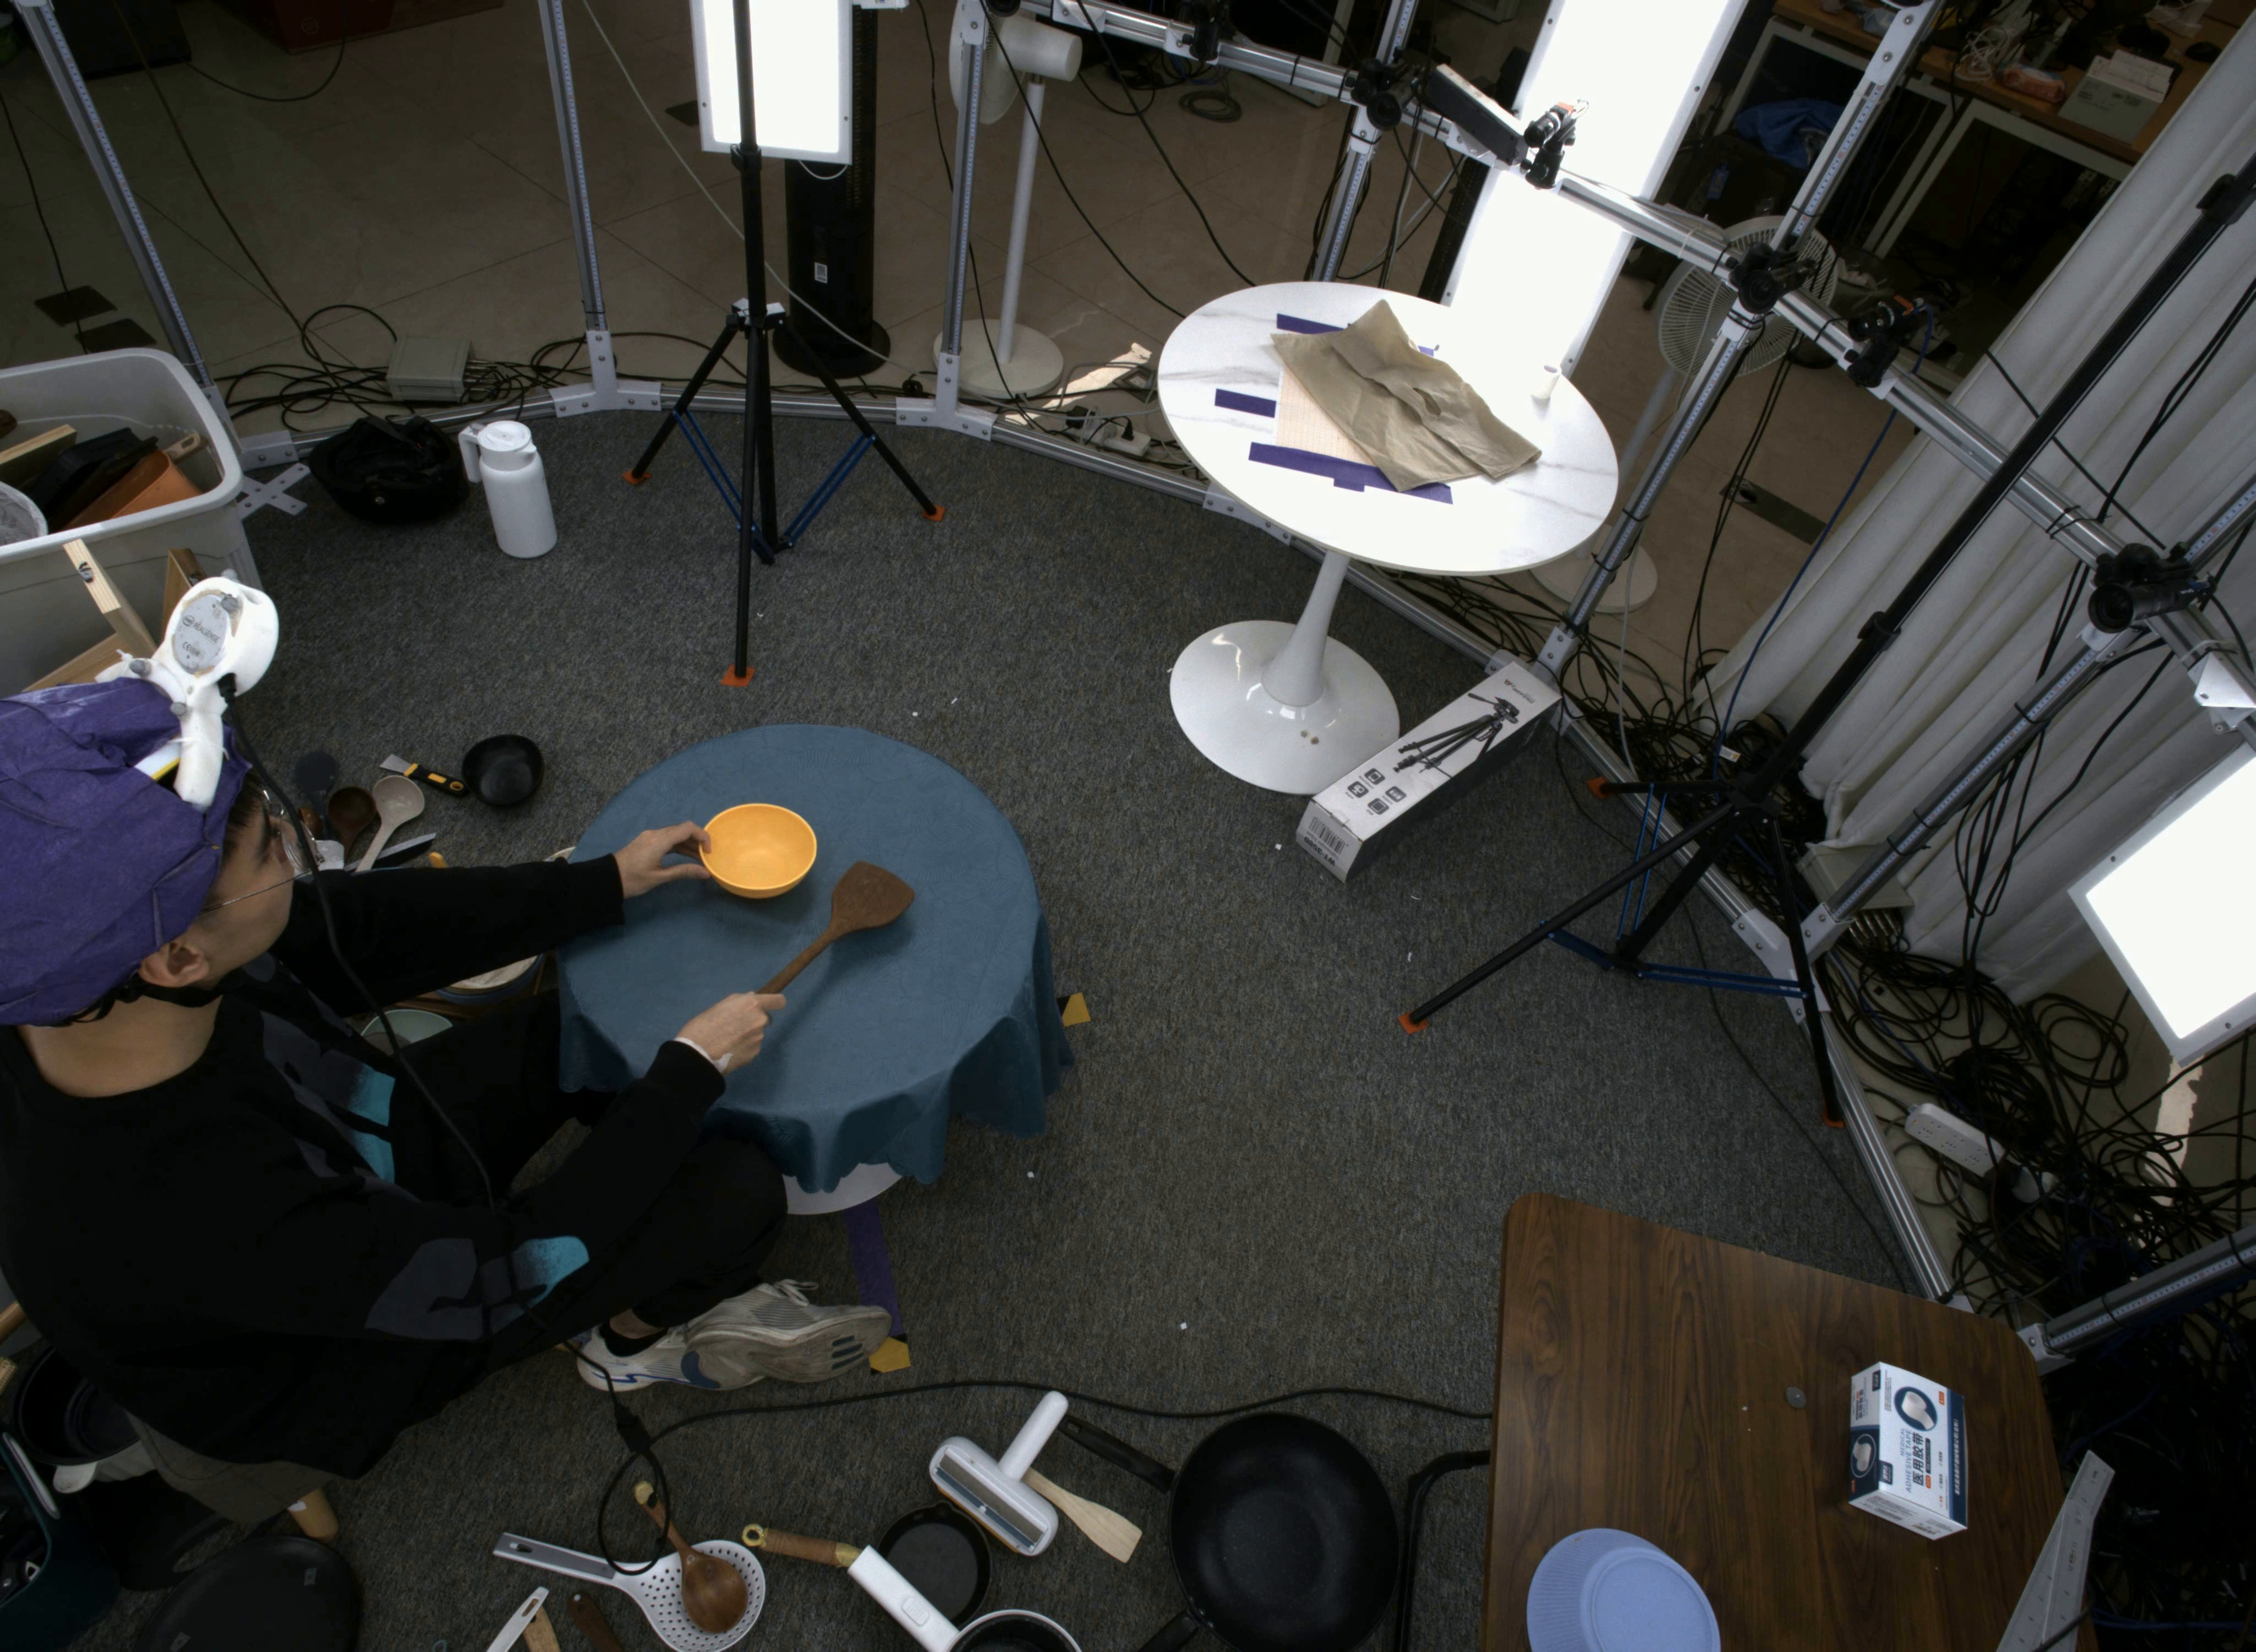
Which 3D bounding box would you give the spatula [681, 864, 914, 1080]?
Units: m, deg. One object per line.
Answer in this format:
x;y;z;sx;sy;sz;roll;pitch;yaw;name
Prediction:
-0.392;0.166;1.534;0.094;0.016;0.385;31;44;10;spatula

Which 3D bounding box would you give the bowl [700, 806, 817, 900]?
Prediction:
-0.467;0.044;1.642;0.145;0.061;0.142;9;46;-7;bowl
